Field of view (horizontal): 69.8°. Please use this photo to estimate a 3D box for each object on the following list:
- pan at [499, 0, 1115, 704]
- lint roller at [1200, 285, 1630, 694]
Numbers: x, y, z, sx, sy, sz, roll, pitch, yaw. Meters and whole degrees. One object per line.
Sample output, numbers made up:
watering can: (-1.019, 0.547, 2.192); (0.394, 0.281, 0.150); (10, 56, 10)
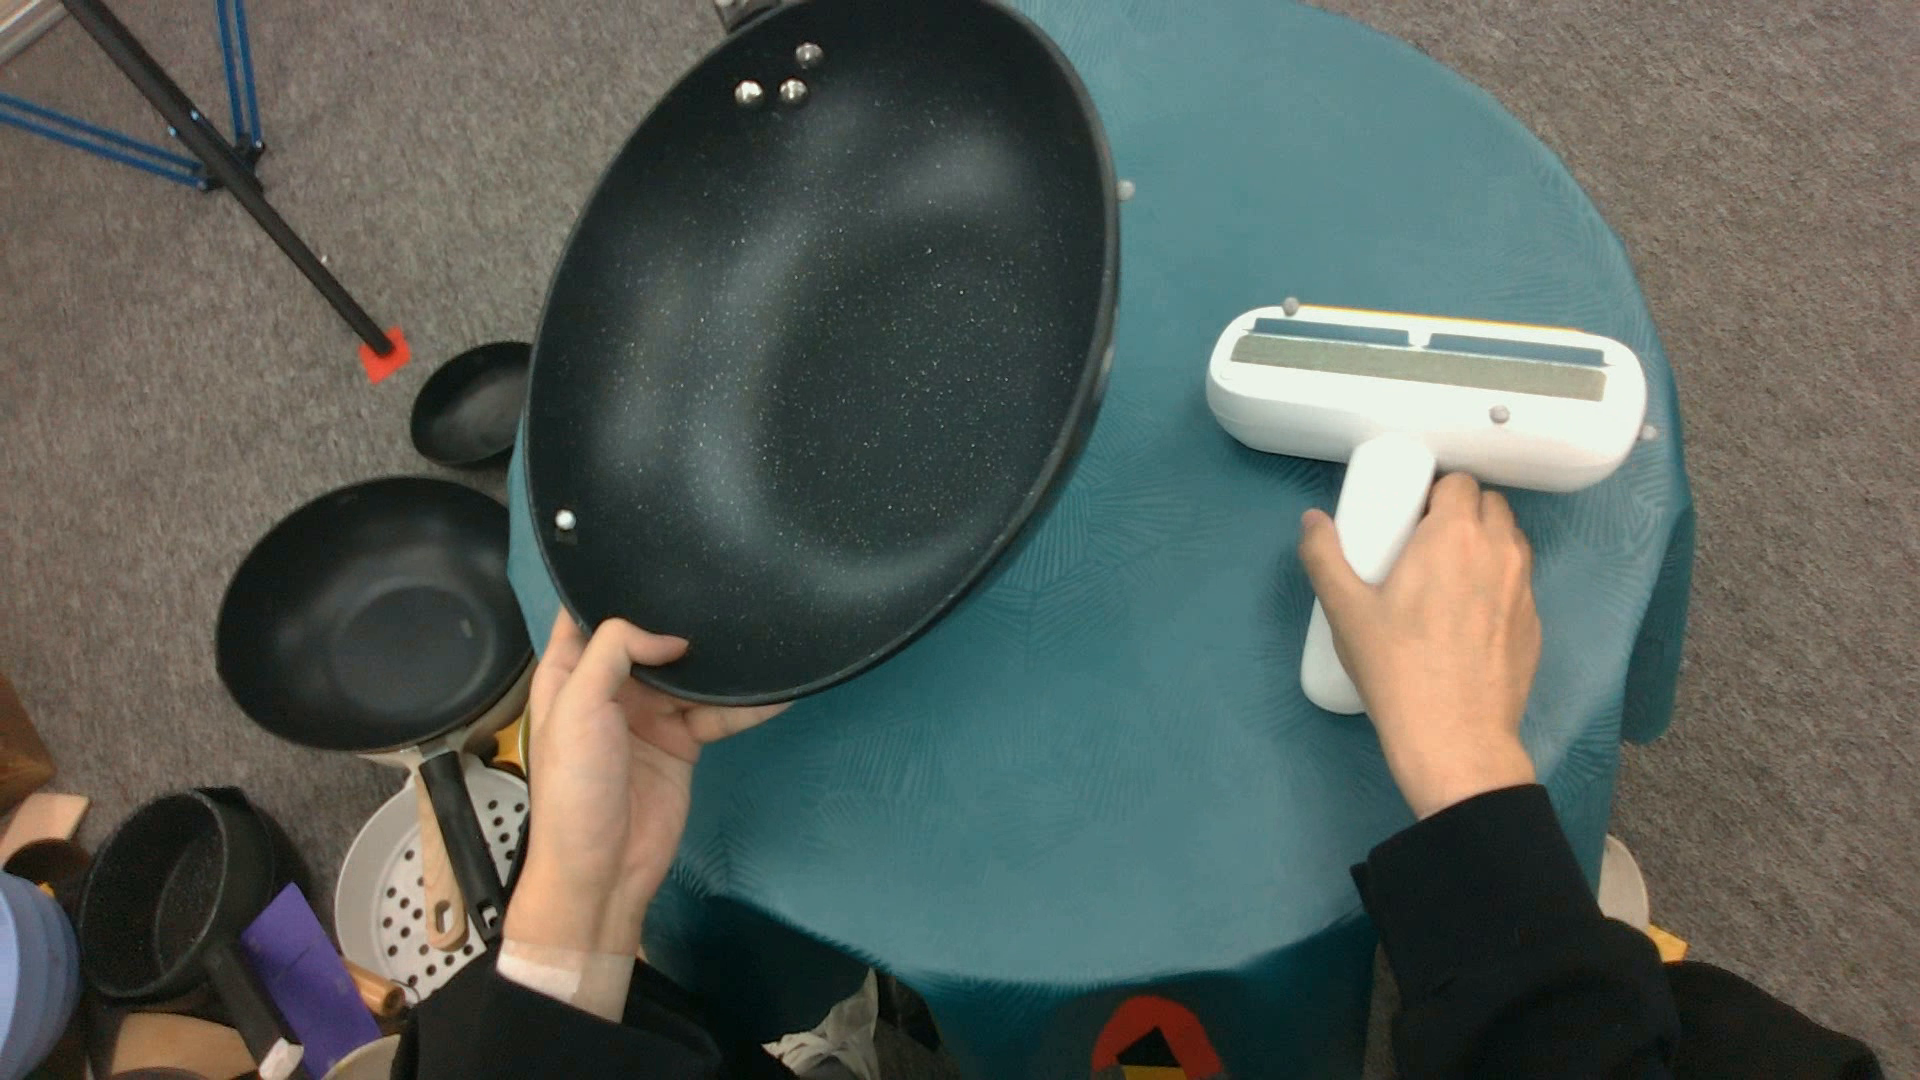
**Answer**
pan: (-0.080, -0.159, 0.614); (0.309, 0.112, 0.478); (-21, 67, 25)
lint roller: (0.186, -0.023, 0.631); (0.192, 0.074, 0.193); (16, 69, 24)
